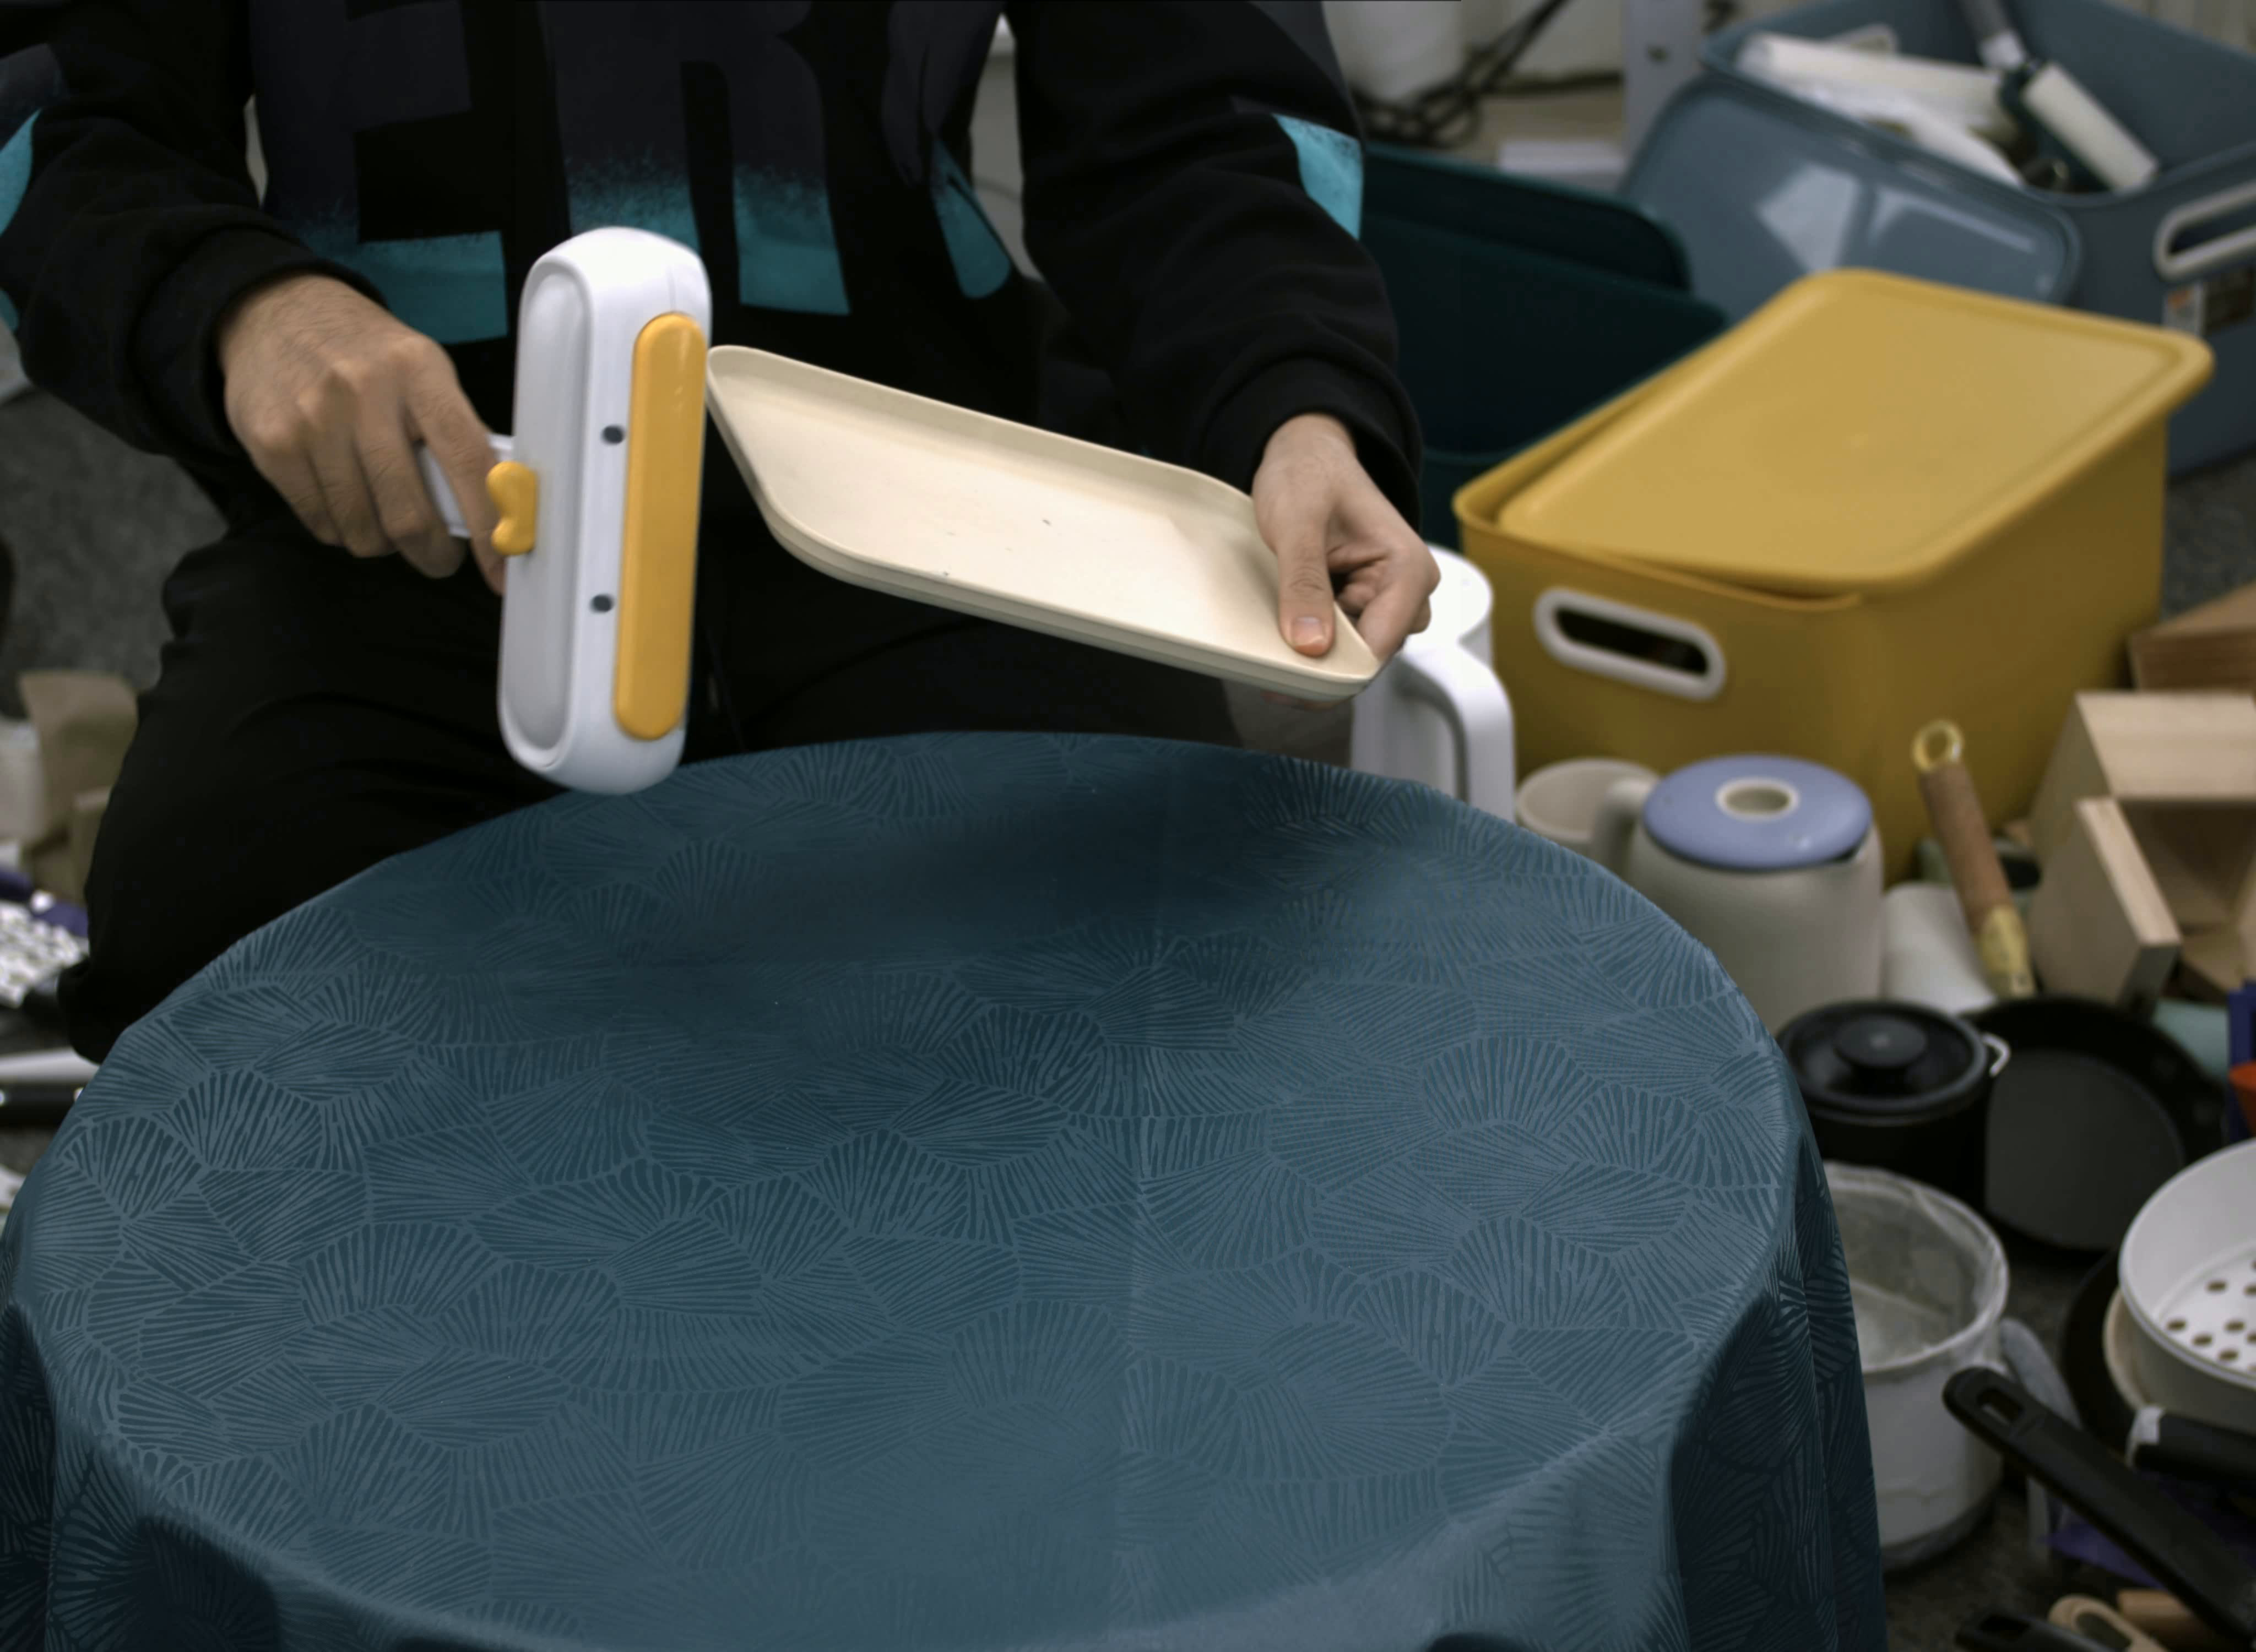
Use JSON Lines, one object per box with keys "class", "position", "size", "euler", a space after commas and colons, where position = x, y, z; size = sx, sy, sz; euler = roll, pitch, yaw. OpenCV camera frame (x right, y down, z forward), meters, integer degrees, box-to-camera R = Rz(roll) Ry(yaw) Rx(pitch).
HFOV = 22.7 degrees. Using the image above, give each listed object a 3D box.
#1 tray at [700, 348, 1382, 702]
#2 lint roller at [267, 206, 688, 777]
{"class": "tray", "position": [-0.033, -0.105, 2.007], "size": [0.239, 0.017, 0.173], "euler": [14, 22, -25]}
{"class": "lint roller", "position": [-0.223, -0.119, 1.952], "size": [0.074, 0.192, 0.191], "euler": [-9, 13, -41]}
